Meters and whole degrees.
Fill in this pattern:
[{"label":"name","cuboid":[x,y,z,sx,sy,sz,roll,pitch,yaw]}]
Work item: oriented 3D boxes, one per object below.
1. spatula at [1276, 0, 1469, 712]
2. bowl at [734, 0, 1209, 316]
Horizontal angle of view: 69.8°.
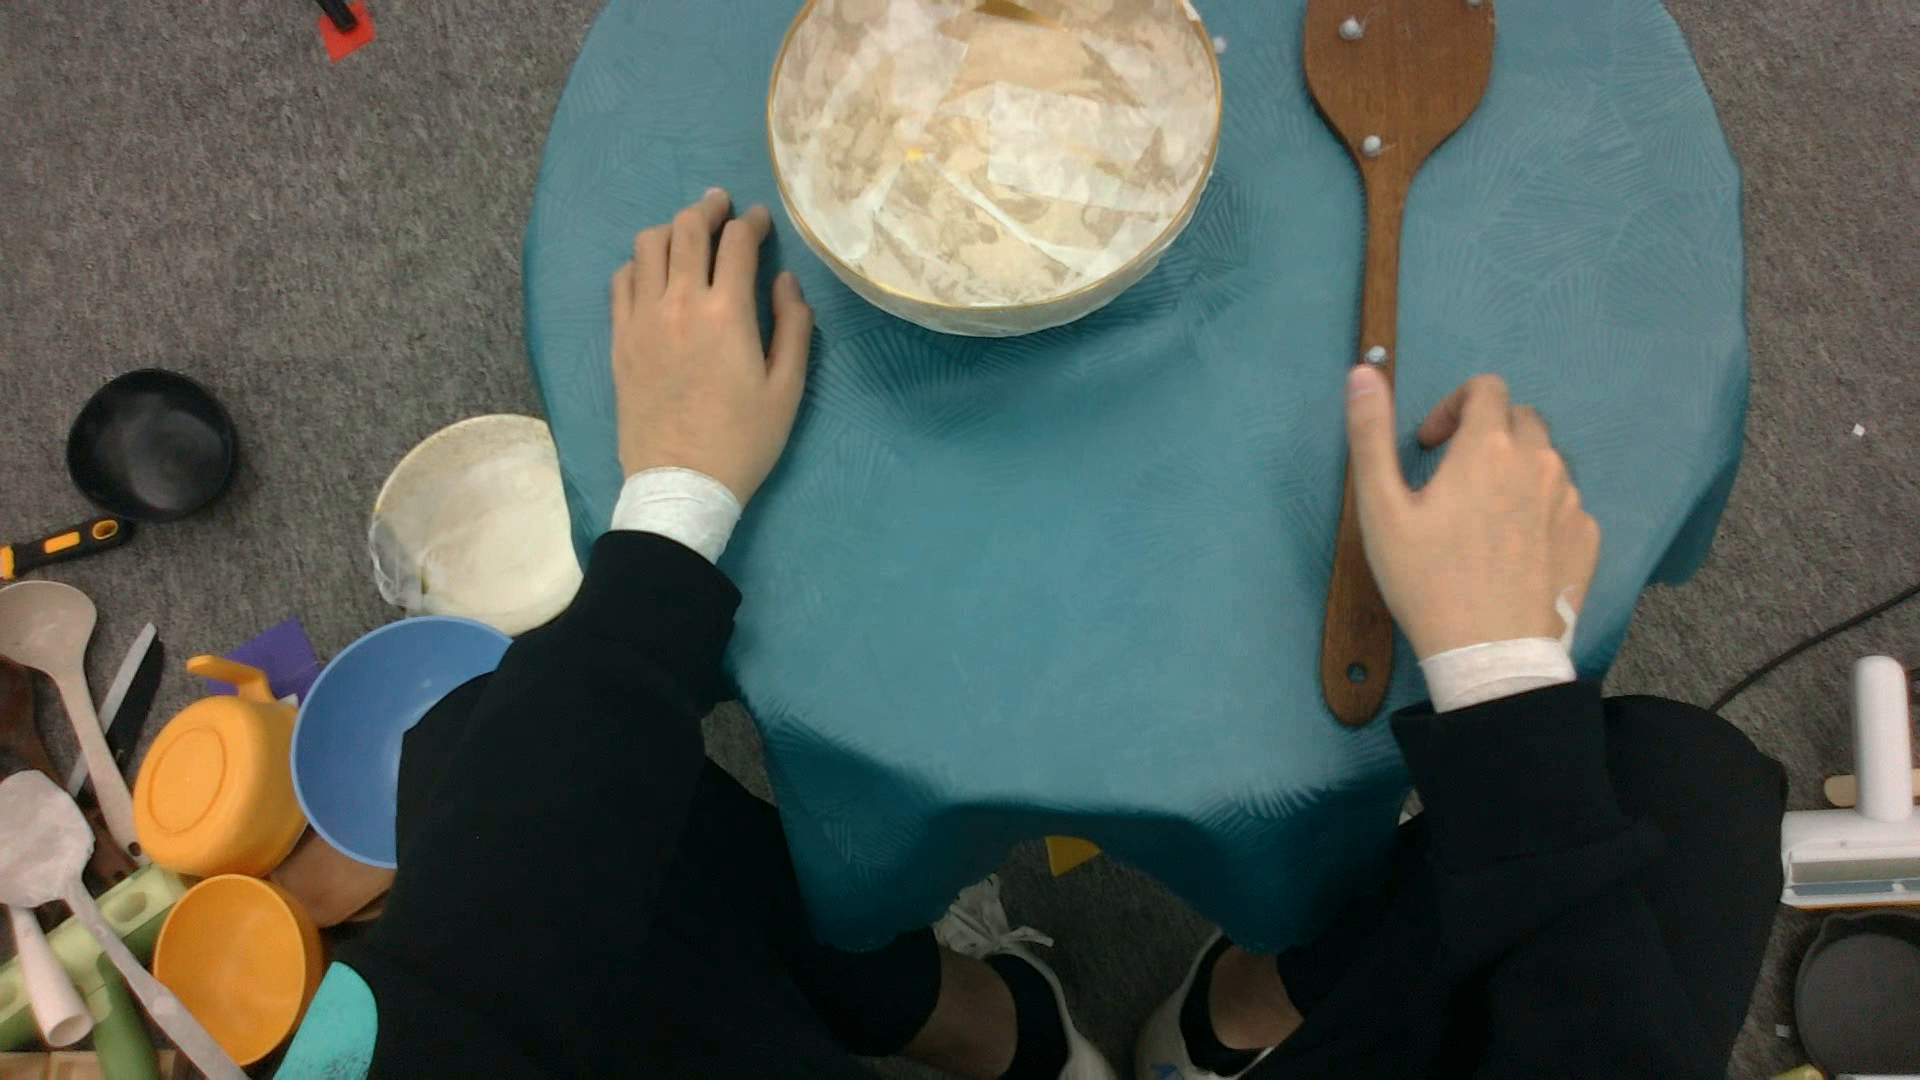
[{"label":"spatula","cuboid":[0.190,-0.109,0.657,0.096,0.016,0.387,6,73,4]},{"label":"bowl","cuboid":[0.004,-0.185,0.644,0.215,0.094,0.215,0,74,0]}]
